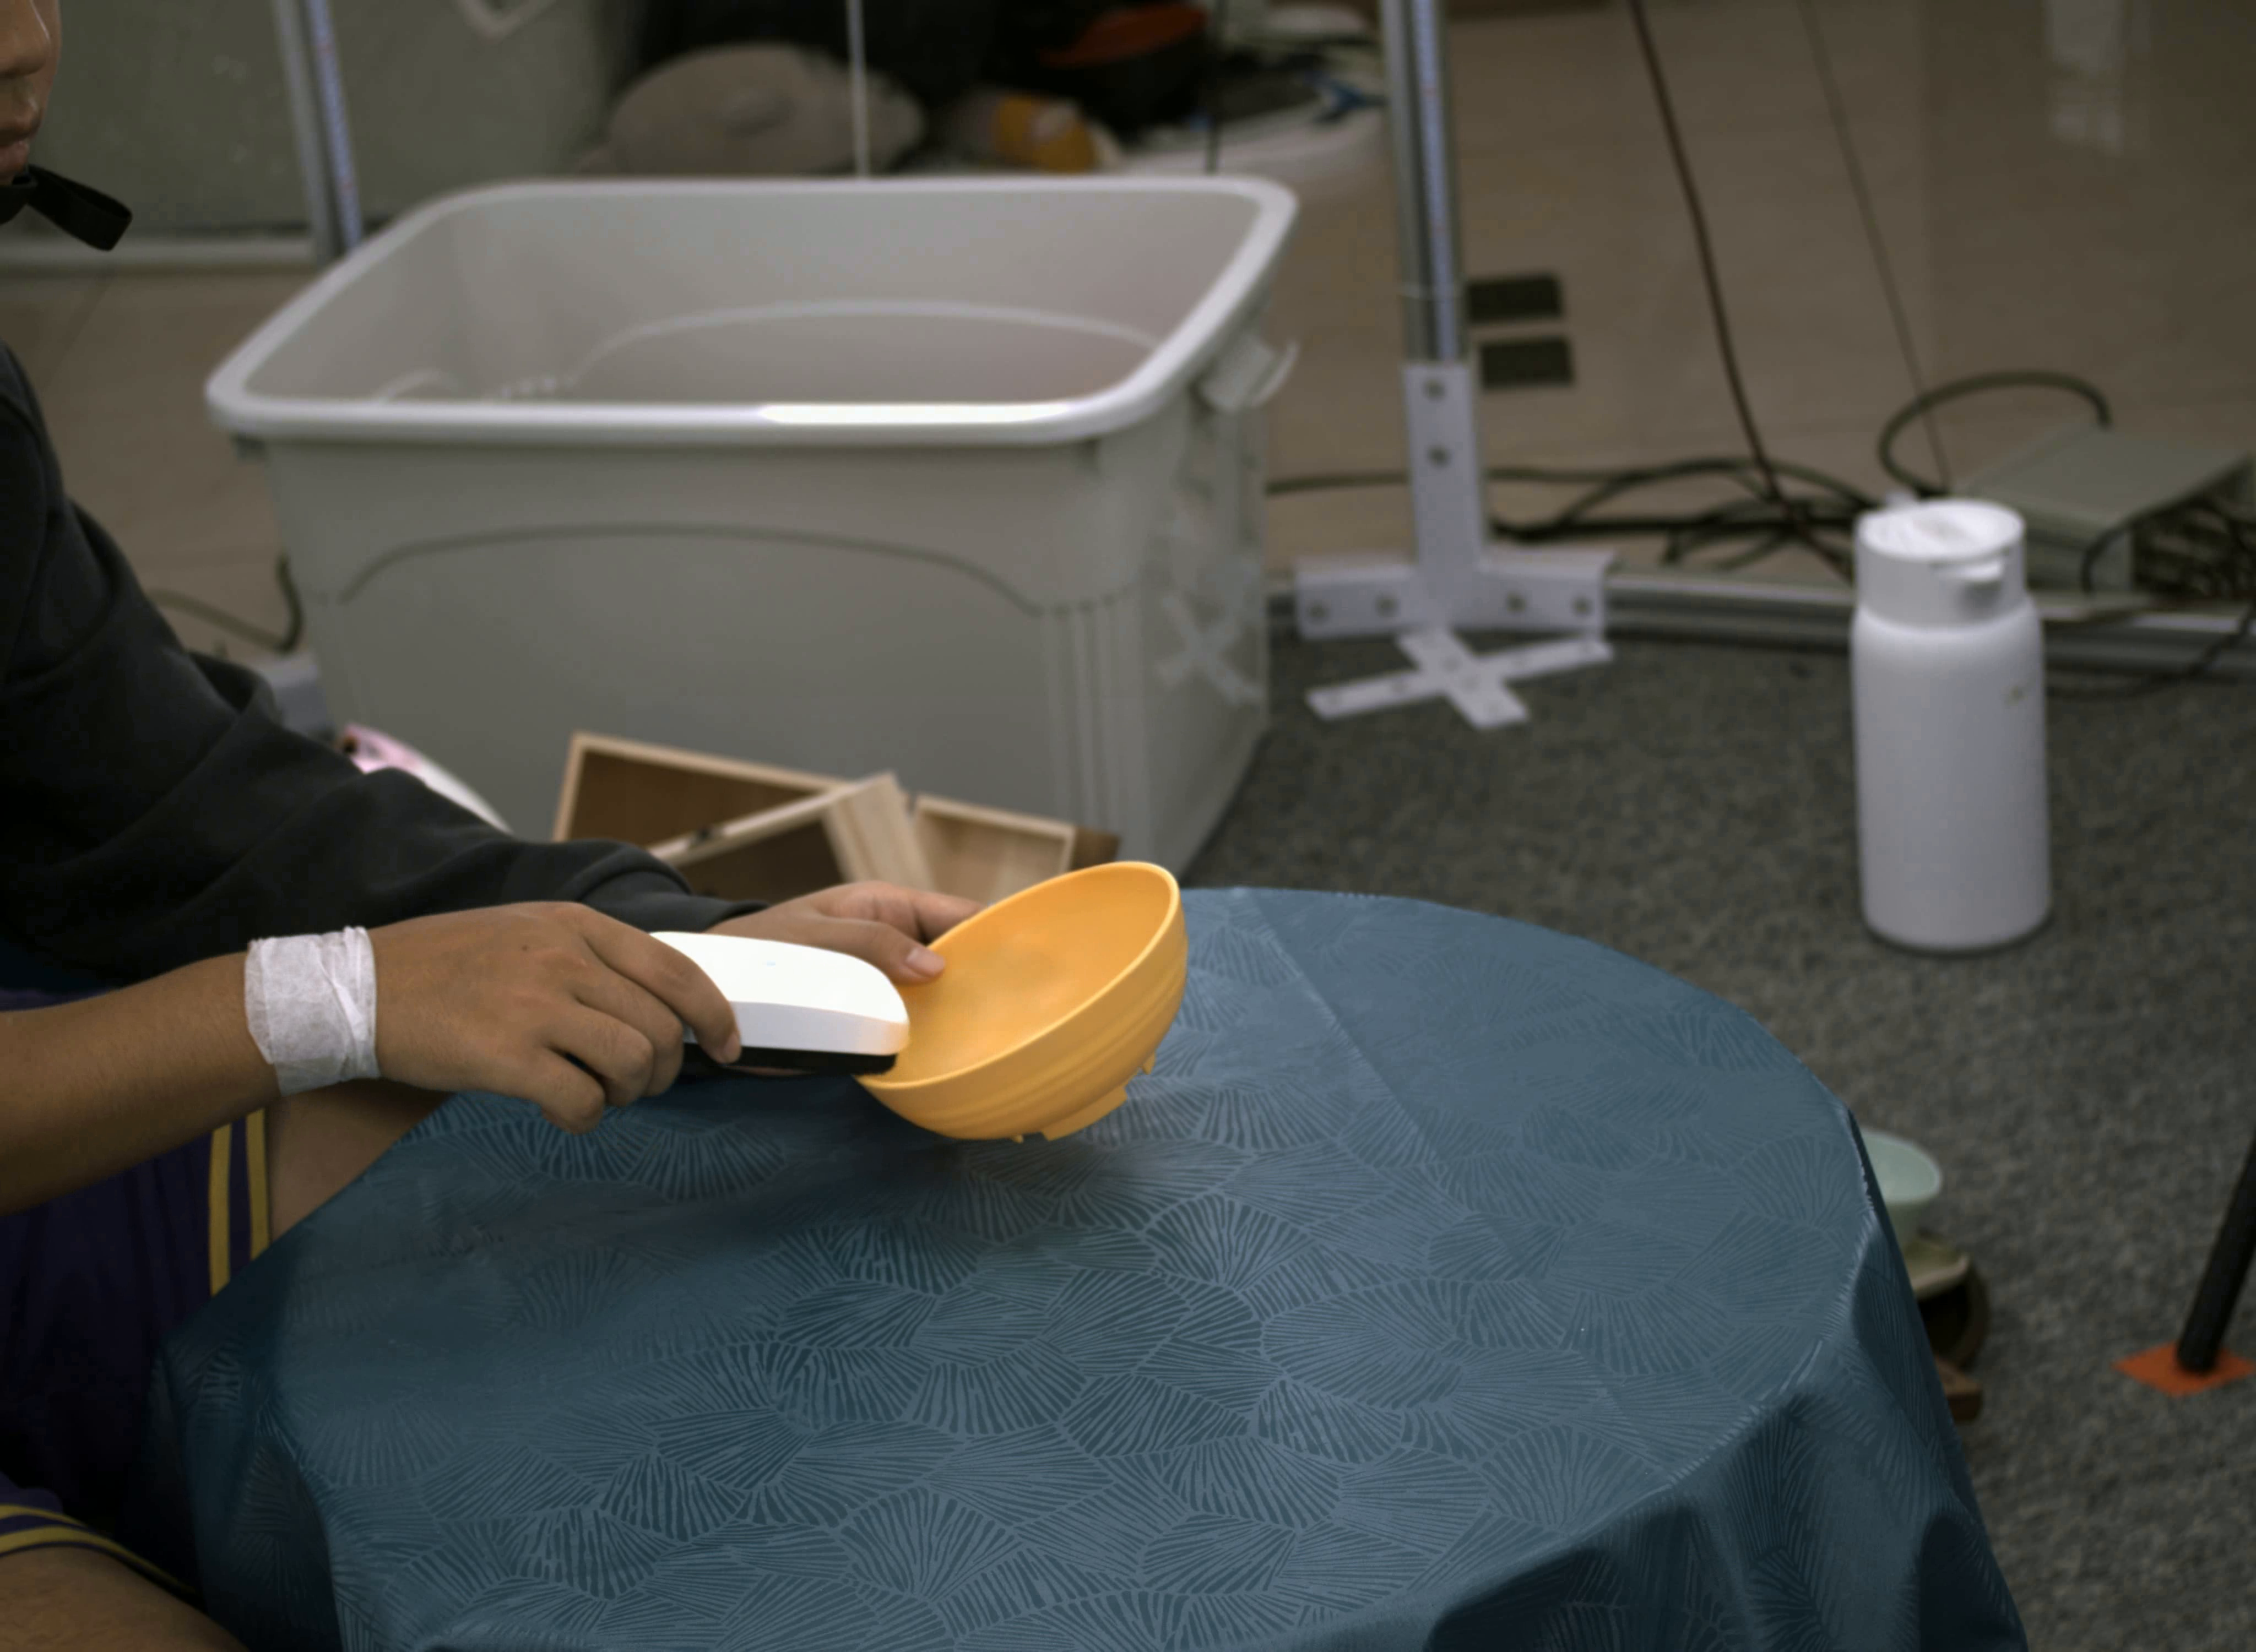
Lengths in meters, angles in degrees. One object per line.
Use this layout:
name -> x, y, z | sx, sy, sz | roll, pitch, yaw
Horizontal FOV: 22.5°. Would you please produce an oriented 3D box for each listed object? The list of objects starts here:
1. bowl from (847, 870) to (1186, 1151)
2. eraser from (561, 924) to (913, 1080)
bowl -> -0.032, 0.082, 2.170 | 0.145, 0.061, 0.143 | -29, 19, 11
eraser -> -0.149, 0.067, 2.144 | 0.131, 0.035, 0.062 | 6, 21, -22
